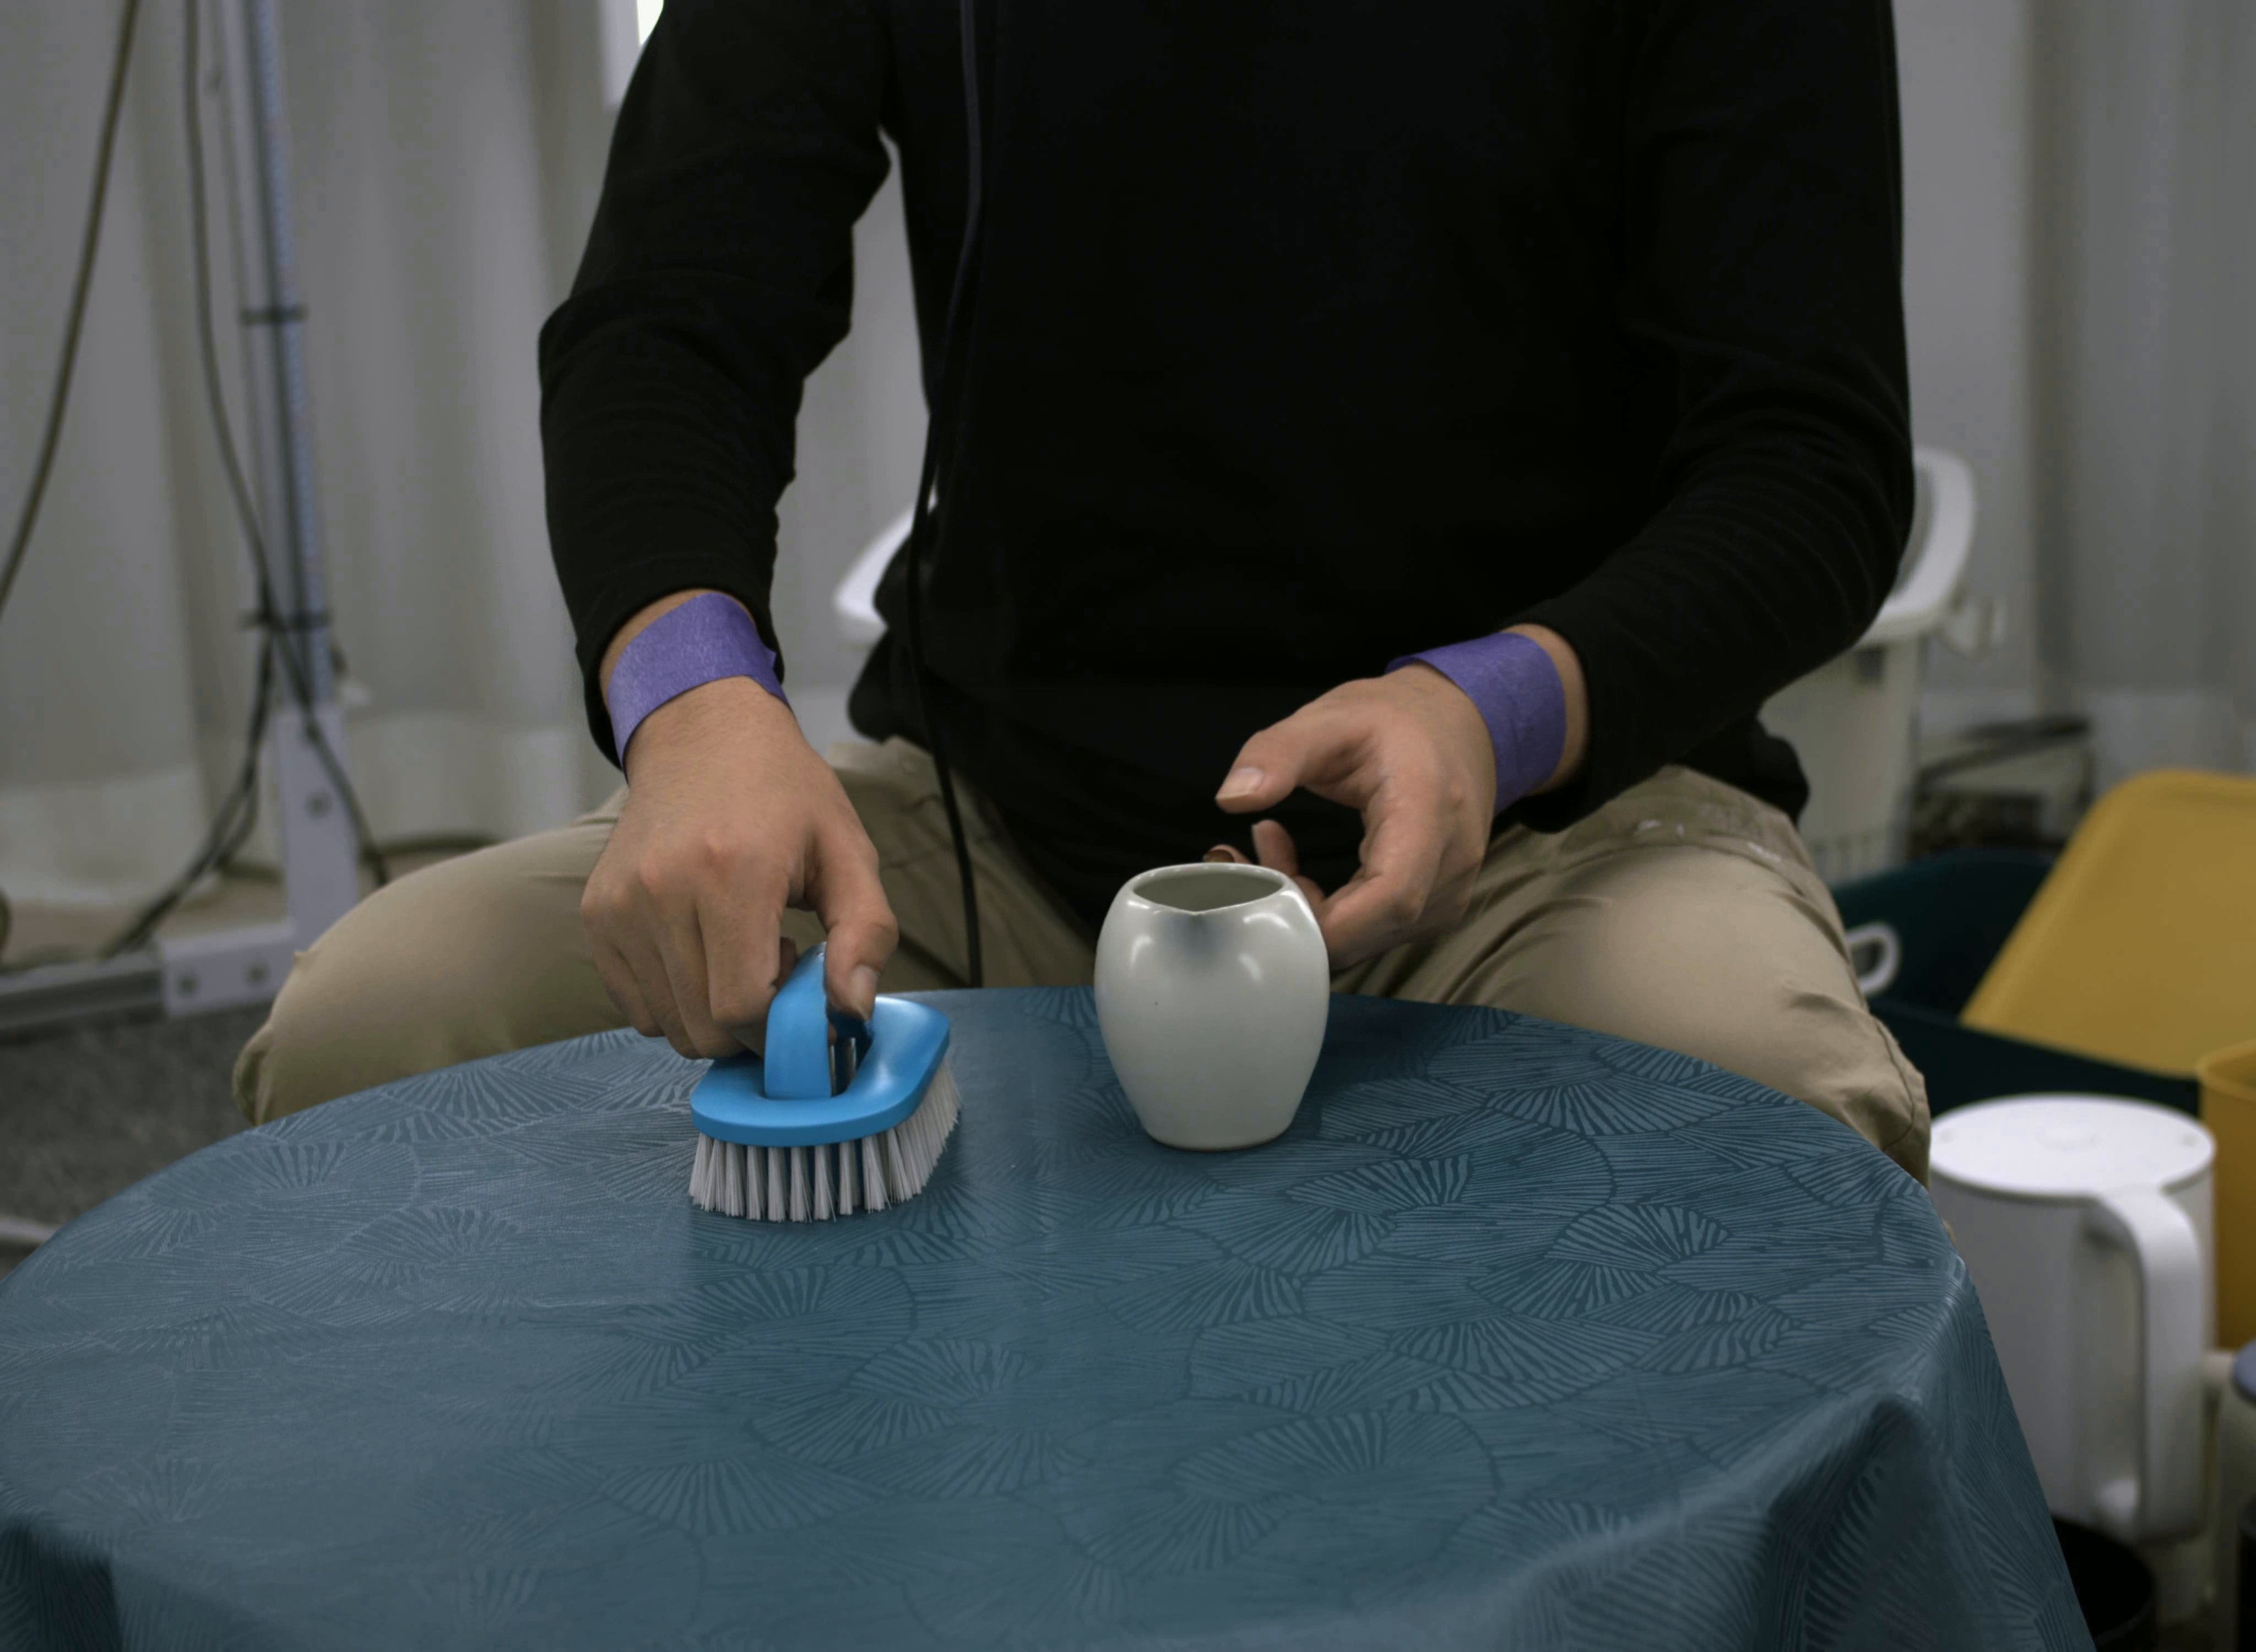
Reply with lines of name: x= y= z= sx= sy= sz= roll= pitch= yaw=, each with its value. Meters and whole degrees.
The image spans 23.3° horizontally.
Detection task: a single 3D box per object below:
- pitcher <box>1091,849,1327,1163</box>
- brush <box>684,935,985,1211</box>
pitcher: x=0.027 y=0.057 z=1.758 sx=0.076 sy=0.087 sz=0.120 roll=5 pitch=19 yaw=8
brush: x=-0.096 y=0.074 z=1.762 sx=0.084 sy=0.063 sz=0.142 roll=-5 pitch=13 yaw=10
